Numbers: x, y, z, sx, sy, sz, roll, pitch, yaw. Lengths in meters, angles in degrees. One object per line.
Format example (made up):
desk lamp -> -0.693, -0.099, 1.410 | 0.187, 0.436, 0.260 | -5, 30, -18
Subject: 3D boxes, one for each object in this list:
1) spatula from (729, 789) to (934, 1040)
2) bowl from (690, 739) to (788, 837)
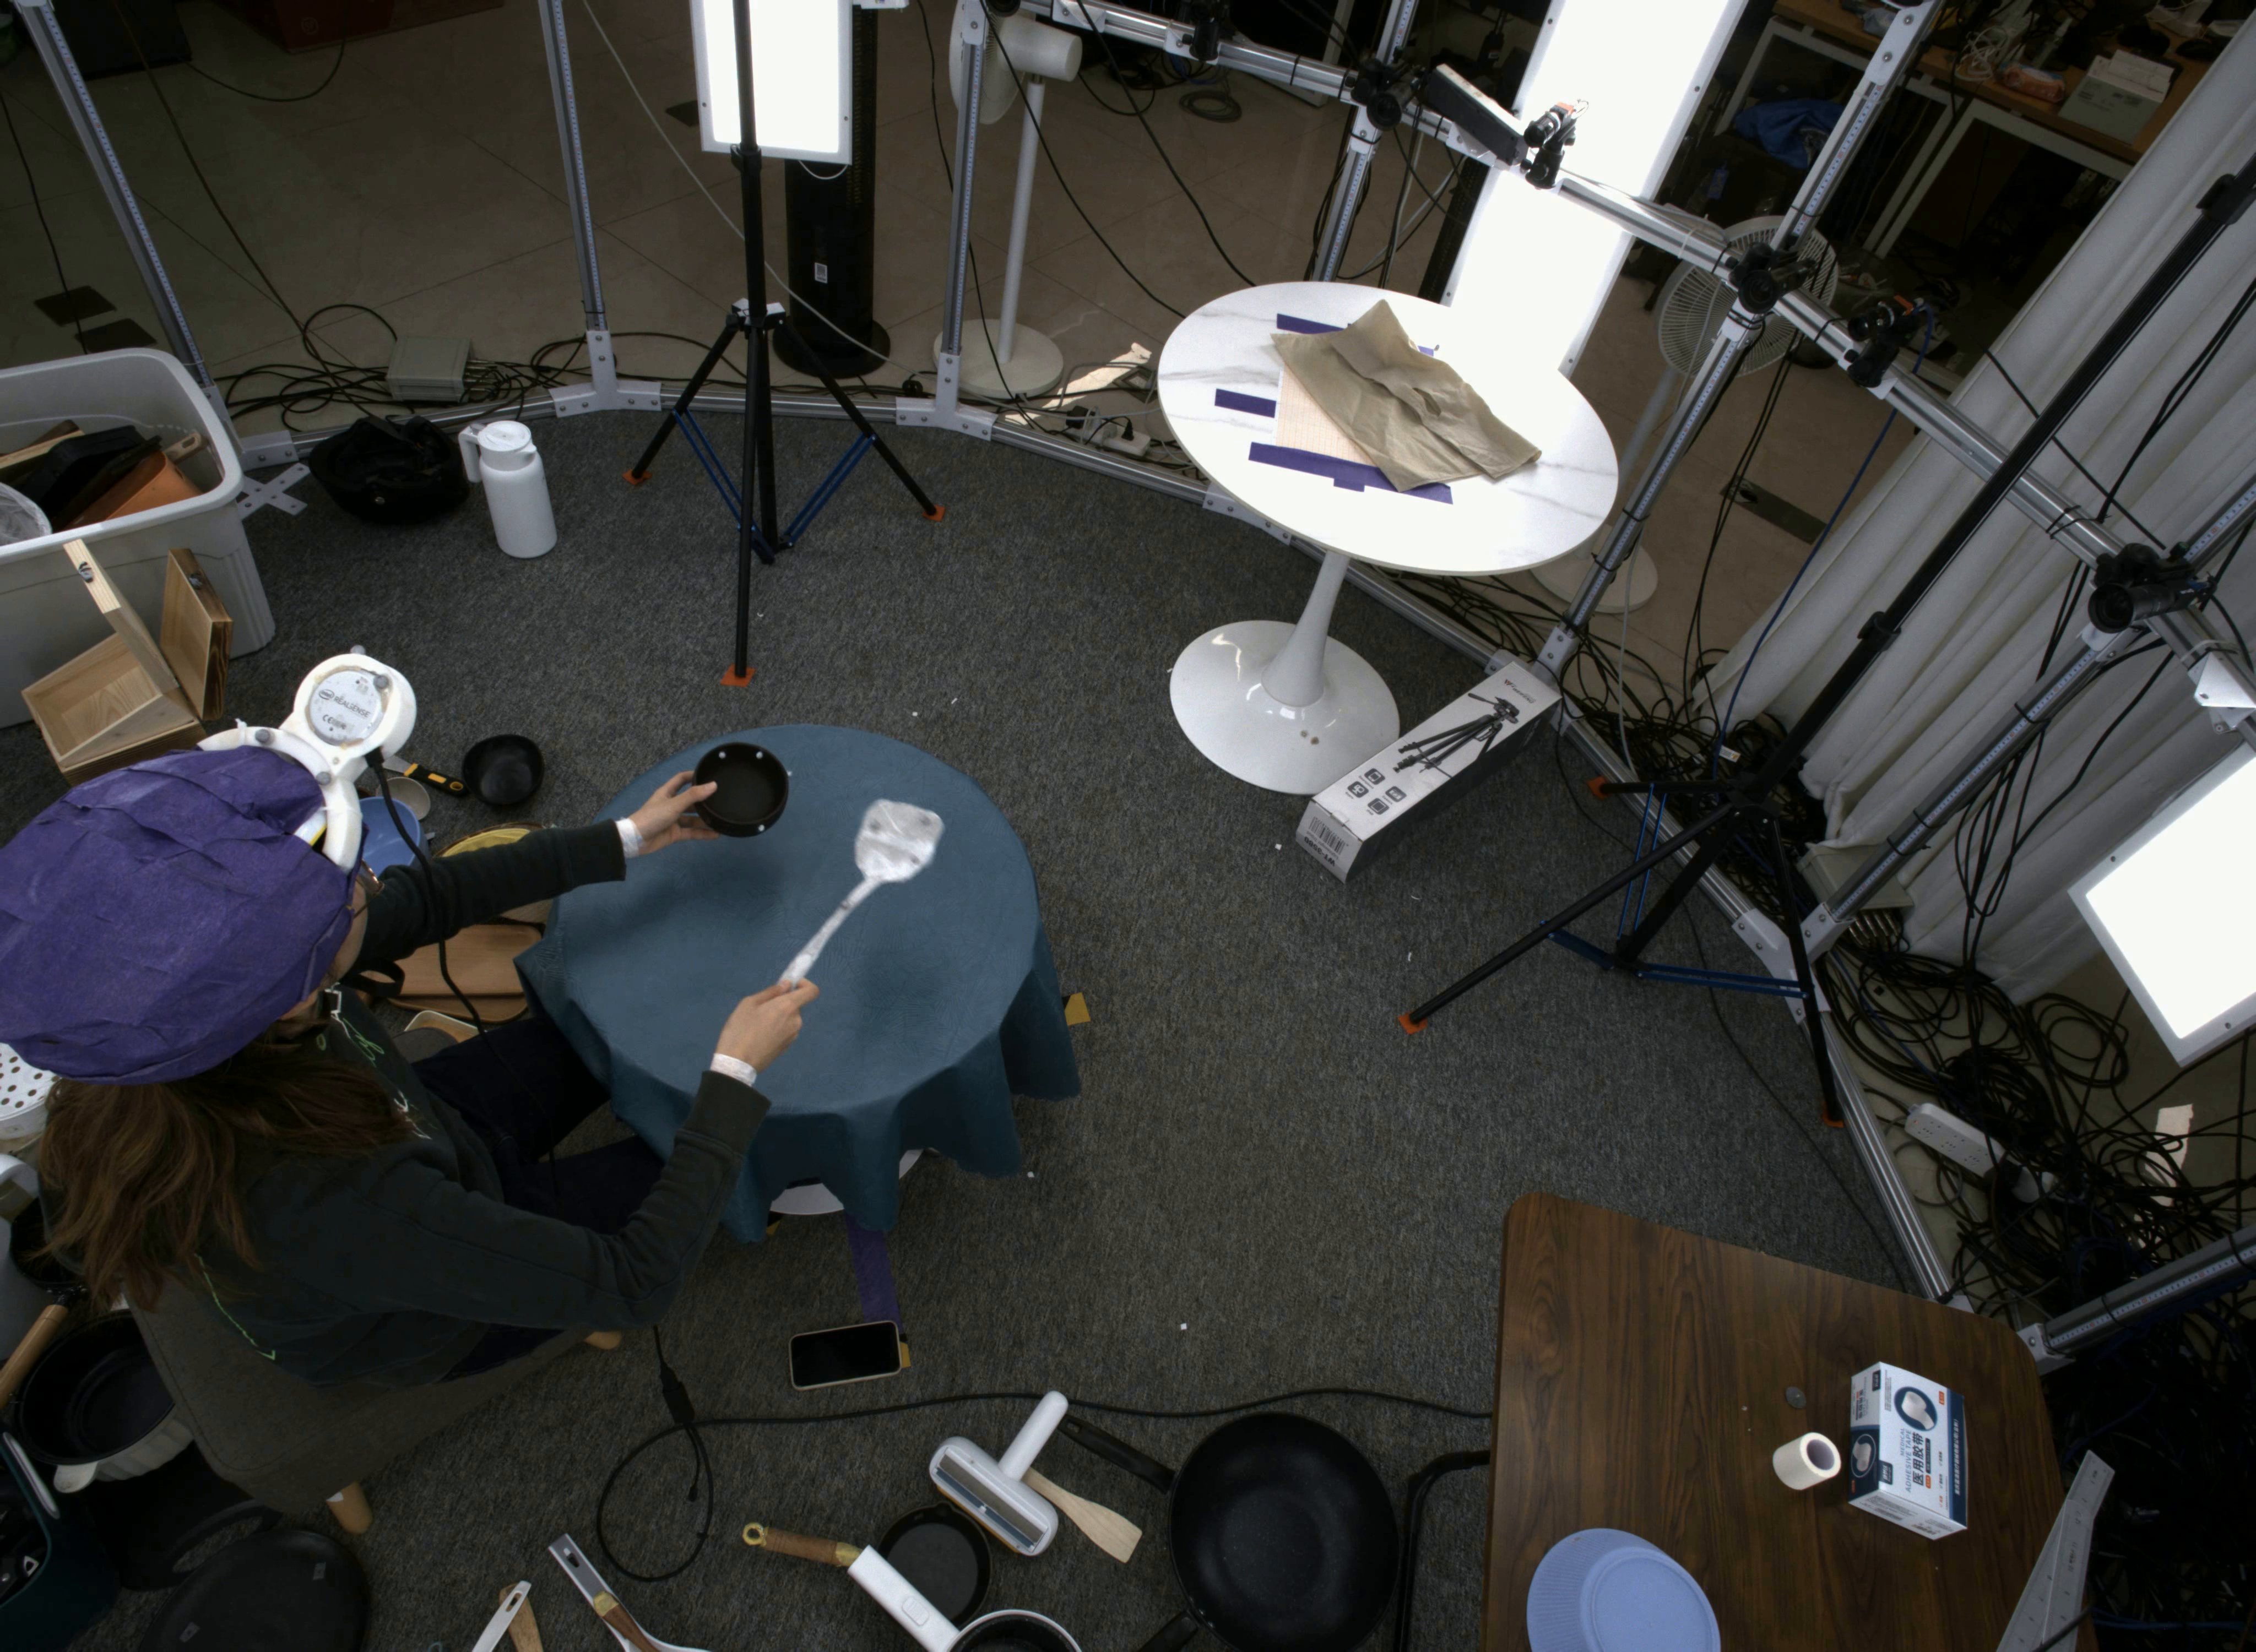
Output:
spatula -> -0.332, 0.090, 1.429 | 0.096, 0.046, 0.362 | 18, 45, 13
bowl -> -0.482, -0.040, 1.598 | 0.119, 0.070, 0.116 | 10, 60, -16
